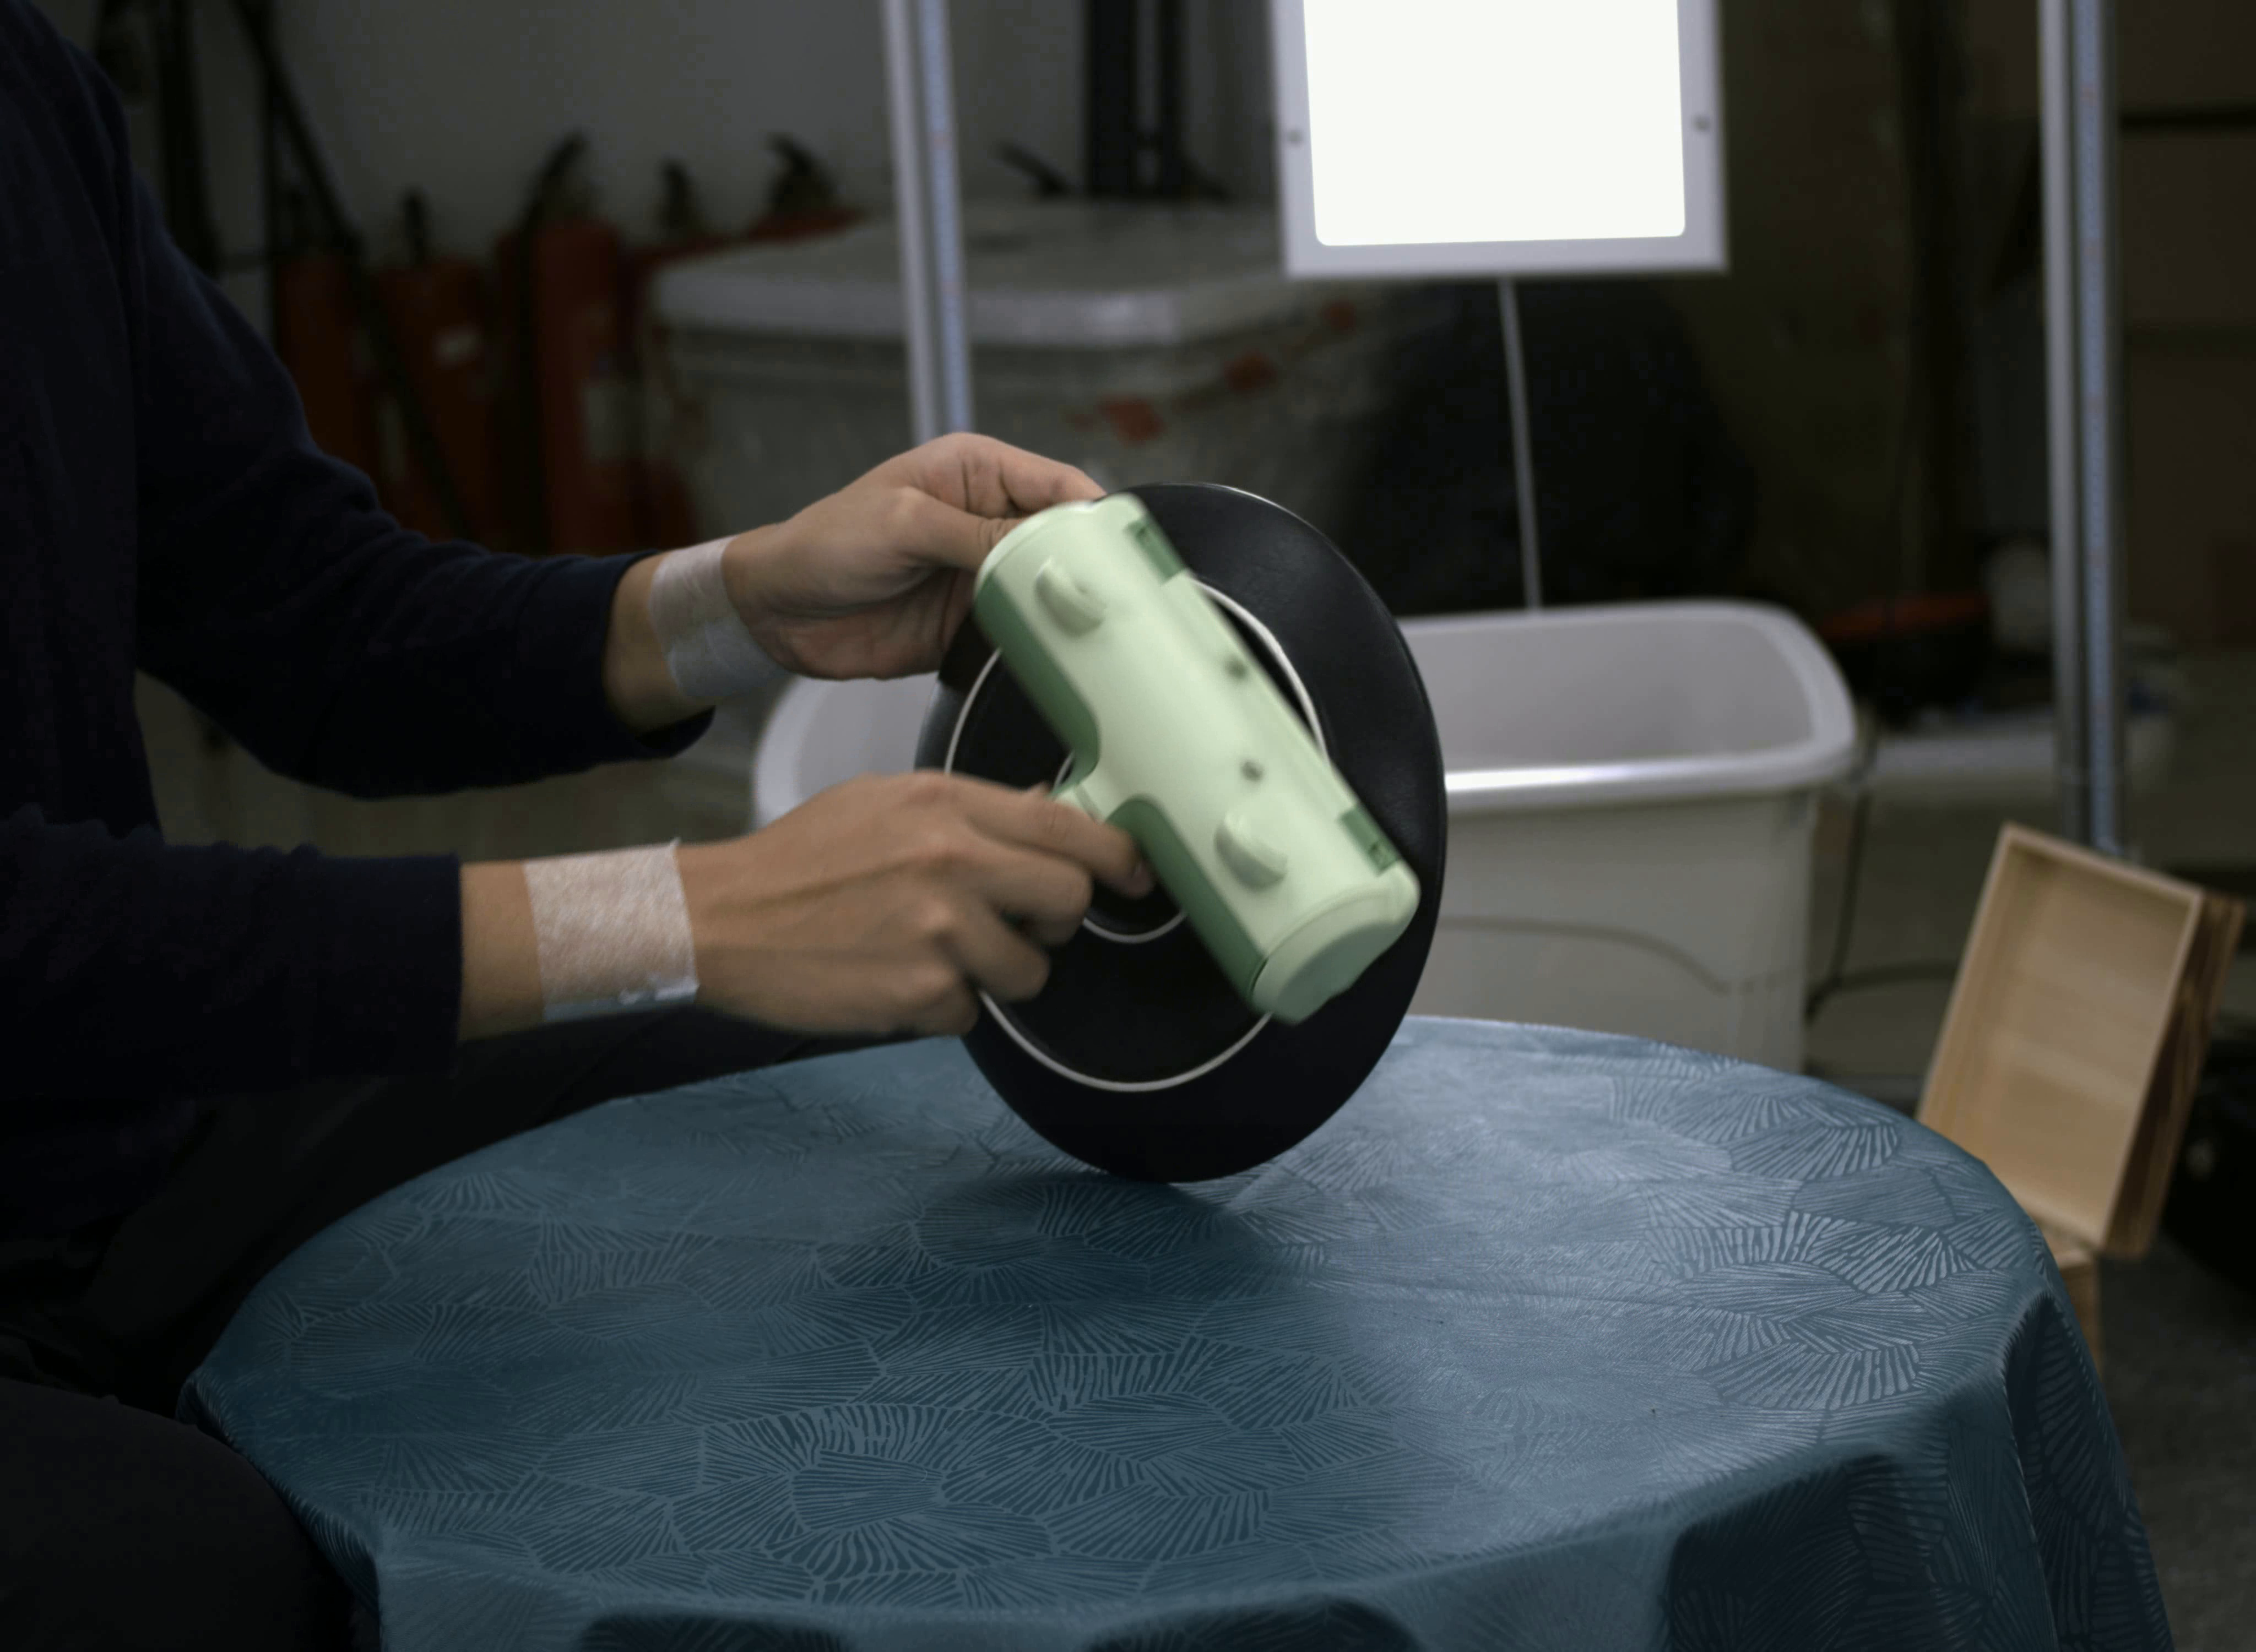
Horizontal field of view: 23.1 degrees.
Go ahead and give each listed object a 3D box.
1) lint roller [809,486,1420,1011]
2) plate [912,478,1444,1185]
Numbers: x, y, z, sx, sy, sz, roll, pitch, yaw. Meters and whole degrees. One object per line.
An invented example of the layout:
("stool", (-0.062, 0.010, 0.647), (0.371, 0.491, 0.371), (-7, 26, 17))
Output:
("lint roller", (-0.029, -0.005, 1.821), (0.181, 0.082, 0.200), (-29, 61, -11))
("plate", (0.008, 0.002, 1.895), (0.249, 0.245, 0.023), (8, 5, 42))
